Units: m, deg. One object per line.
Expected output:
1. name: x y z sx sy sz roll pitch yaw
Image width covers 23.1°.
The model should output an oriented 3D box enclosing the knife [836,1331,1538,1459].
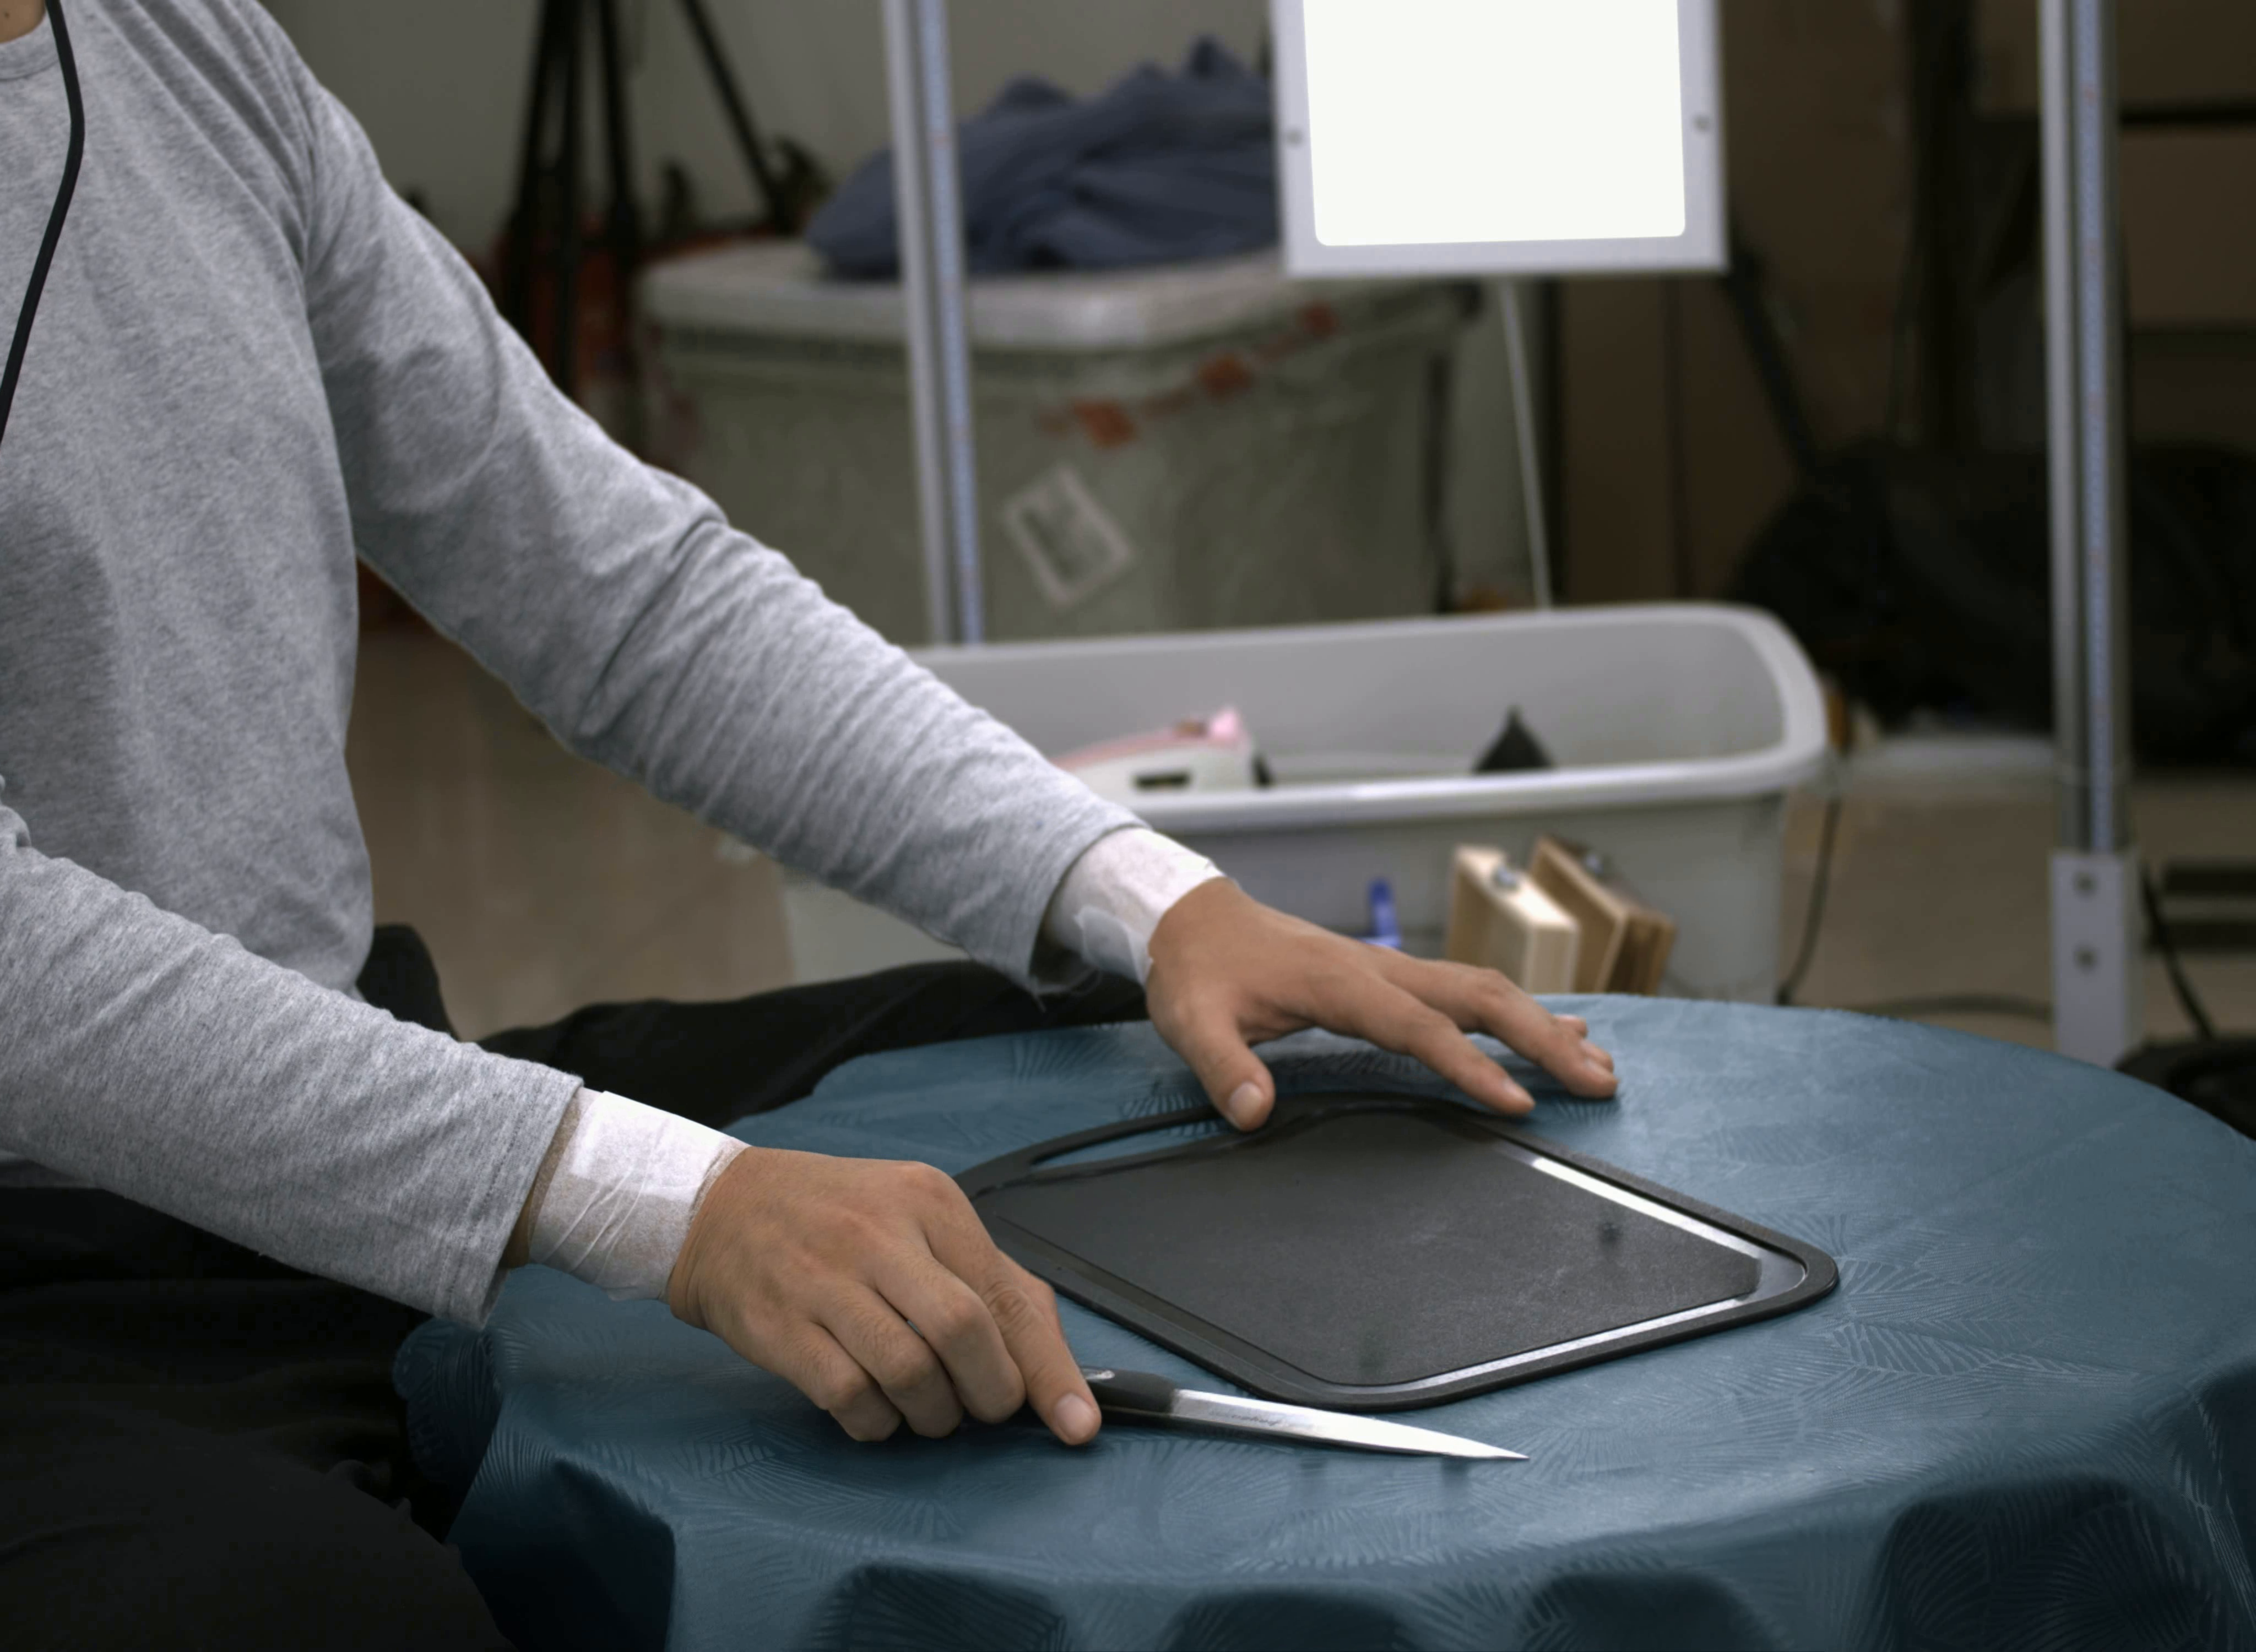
1. knife: 0.013 0.176 1.672 0.242 0.016 0.024 5 19 28

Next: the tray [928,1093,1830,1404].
1. tray: 0.073 0.134 1.834 0.207 0.010 0.331 -12 15 -25
